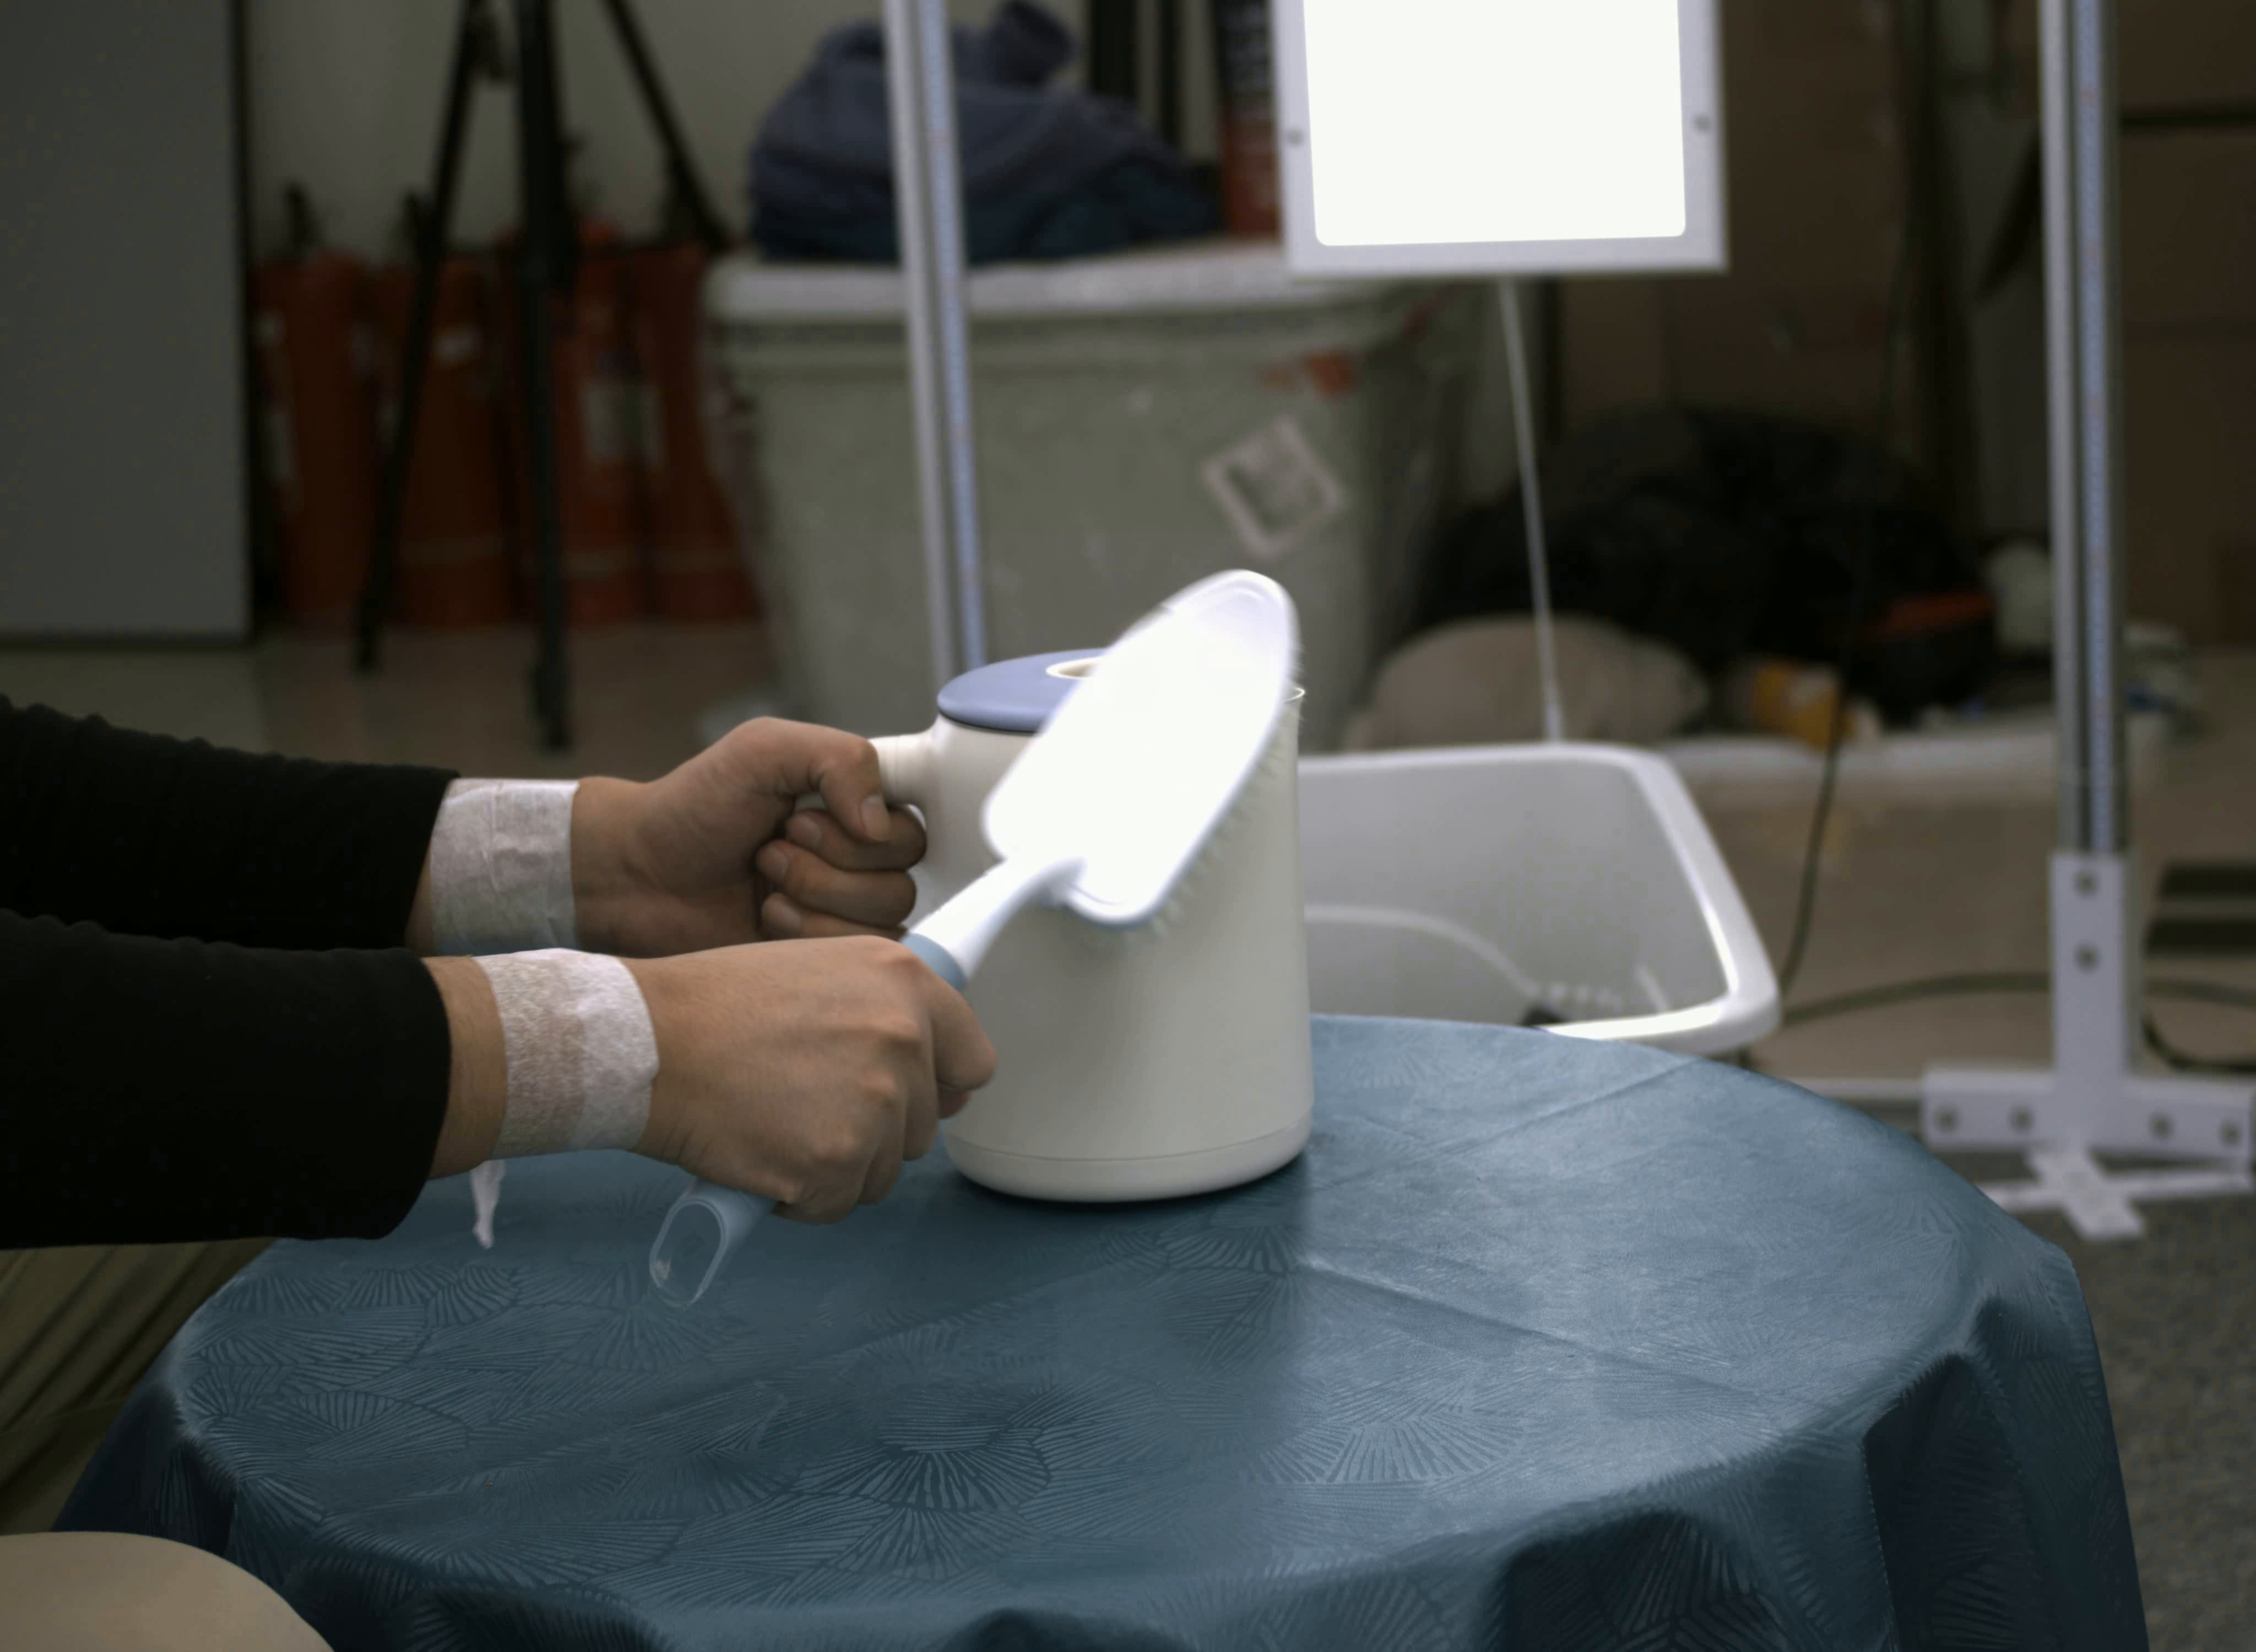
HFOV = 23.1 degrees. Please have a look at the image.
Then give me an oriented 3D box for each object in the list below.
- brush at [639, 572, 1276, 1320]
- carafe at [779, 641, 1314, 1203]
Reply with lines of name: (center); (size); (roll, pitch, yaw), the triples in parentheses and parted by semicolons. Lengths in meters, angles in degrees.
brush: (-0.056, 0.046, 1.771); (0.085, 0.084, 0.321); (7, 51, 49)
carafe: (-0.028, 0.034, 1.915); (0.191, 0.183, 0.131); (-3, 12, 6)
